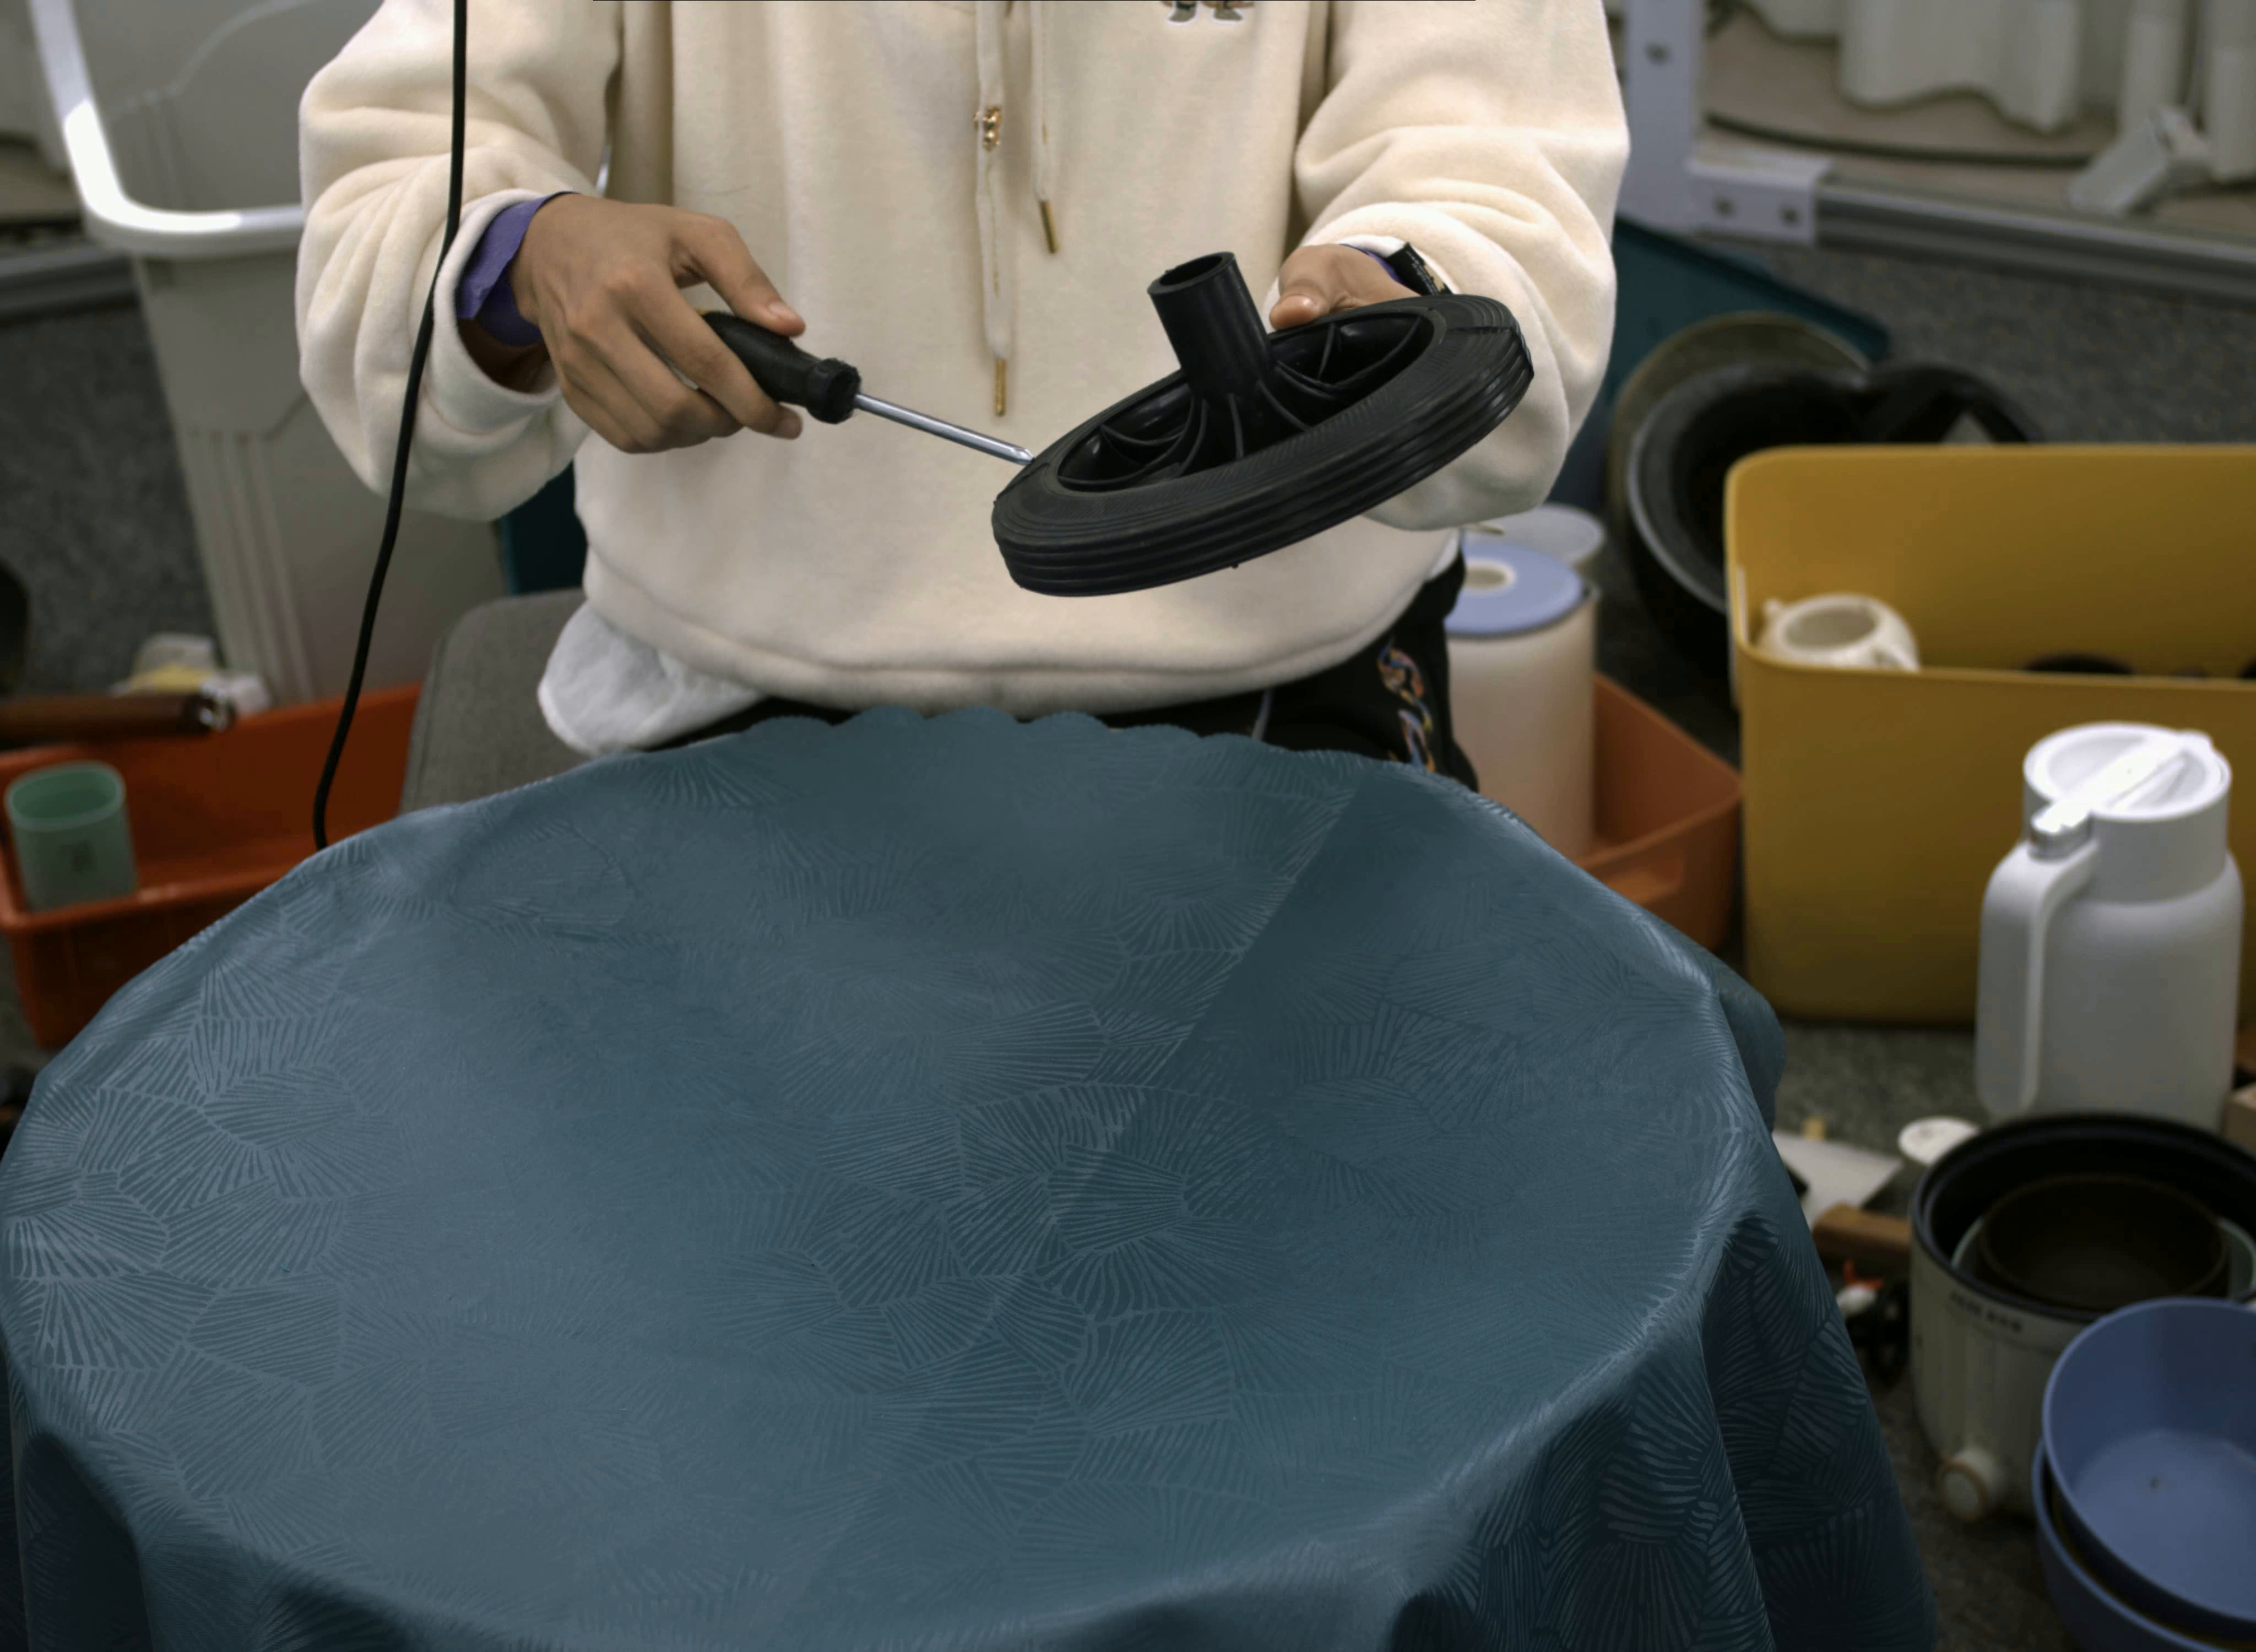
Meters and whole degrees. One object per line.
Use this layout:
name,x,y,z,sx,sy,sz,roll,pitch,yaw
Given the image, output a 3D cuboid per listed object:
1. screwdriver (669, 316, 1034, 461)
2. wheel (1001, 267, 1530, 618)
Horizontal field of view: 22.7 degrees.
screwdriver,-0.096,-0.154,1.976,0.032,0.031,0.195,-24,27,-36
wheel,0.036,-0.142,1.863,0.185,0.078,0.192,-1,30,49
